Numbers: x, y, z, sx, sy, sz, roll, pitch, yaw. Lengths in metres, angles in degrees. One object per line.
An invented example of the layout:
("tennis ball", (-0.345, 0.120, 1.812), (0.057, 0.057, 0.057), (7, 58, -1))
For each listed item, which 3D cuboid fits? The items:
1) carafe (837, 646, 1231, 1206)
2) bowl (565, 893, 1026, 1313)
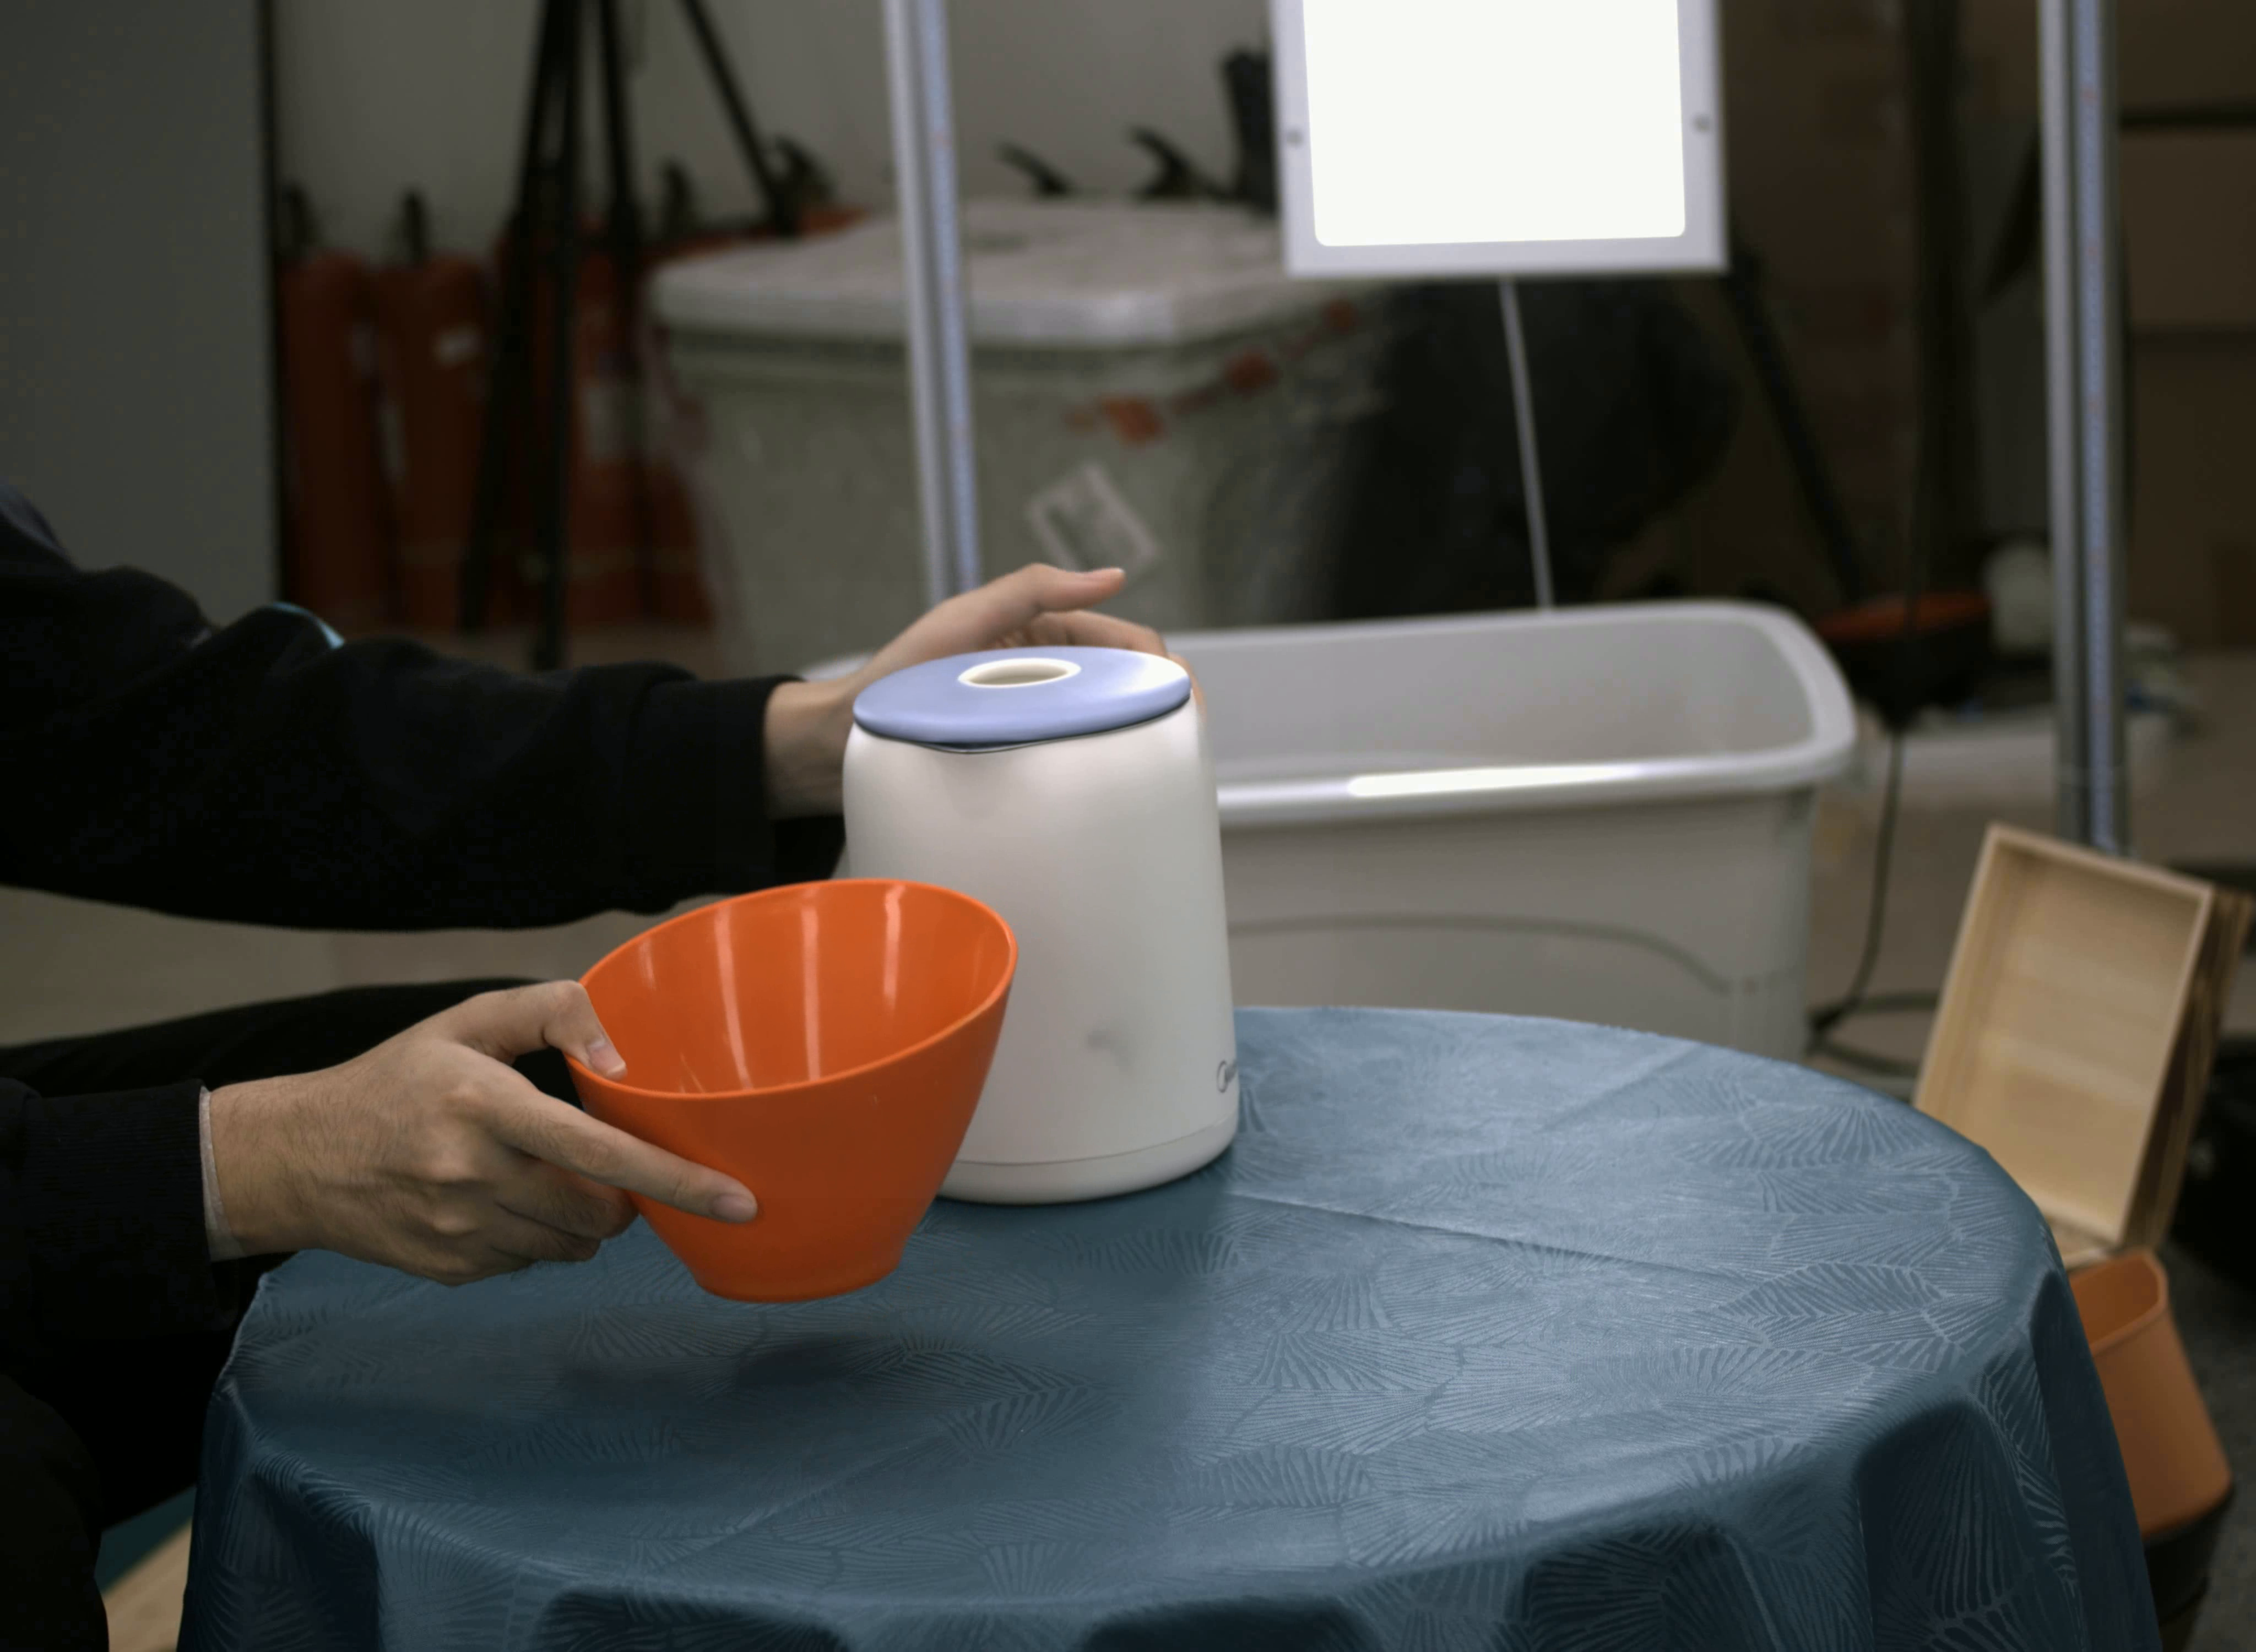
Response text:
("carafe", (-0.027, 0.029, 1.946), (0.133, 0.183, 0.188), (0, 12, 14))
("bowl", (-0.103, 0.092, 1.753), (0.147, 0.105, 0.148), (-4, 15, 0))
